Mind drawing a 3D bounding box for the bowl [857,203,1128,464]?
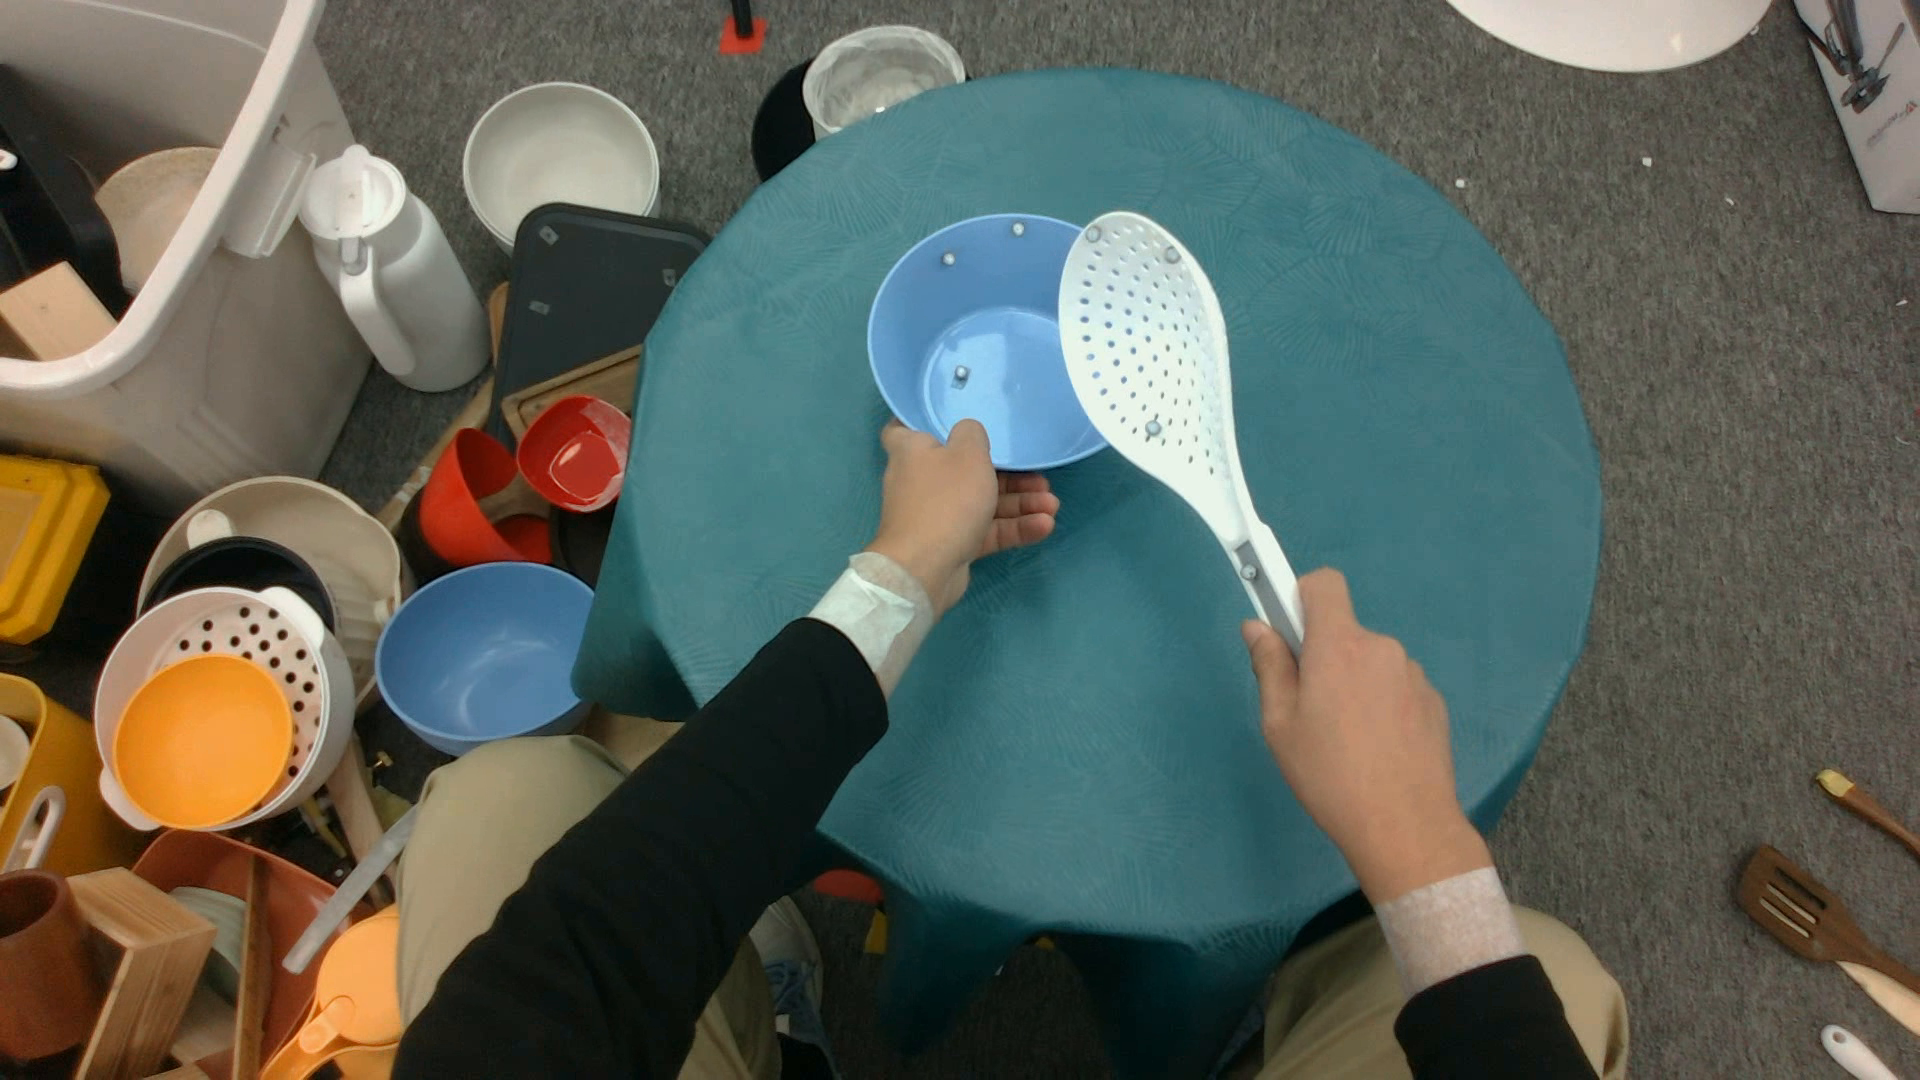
[{"bbox_3d":[0.026,-0.113,0.836,0.176,0.070,0.176,1,67,-1],"label":"bowl"}]

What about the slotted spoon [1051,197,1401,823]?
[{"bbox_3d":[0.136,-0.021,0.711,0.046,0.135,0.350,-12,72,-25],"label":"slotted spoon"}]
